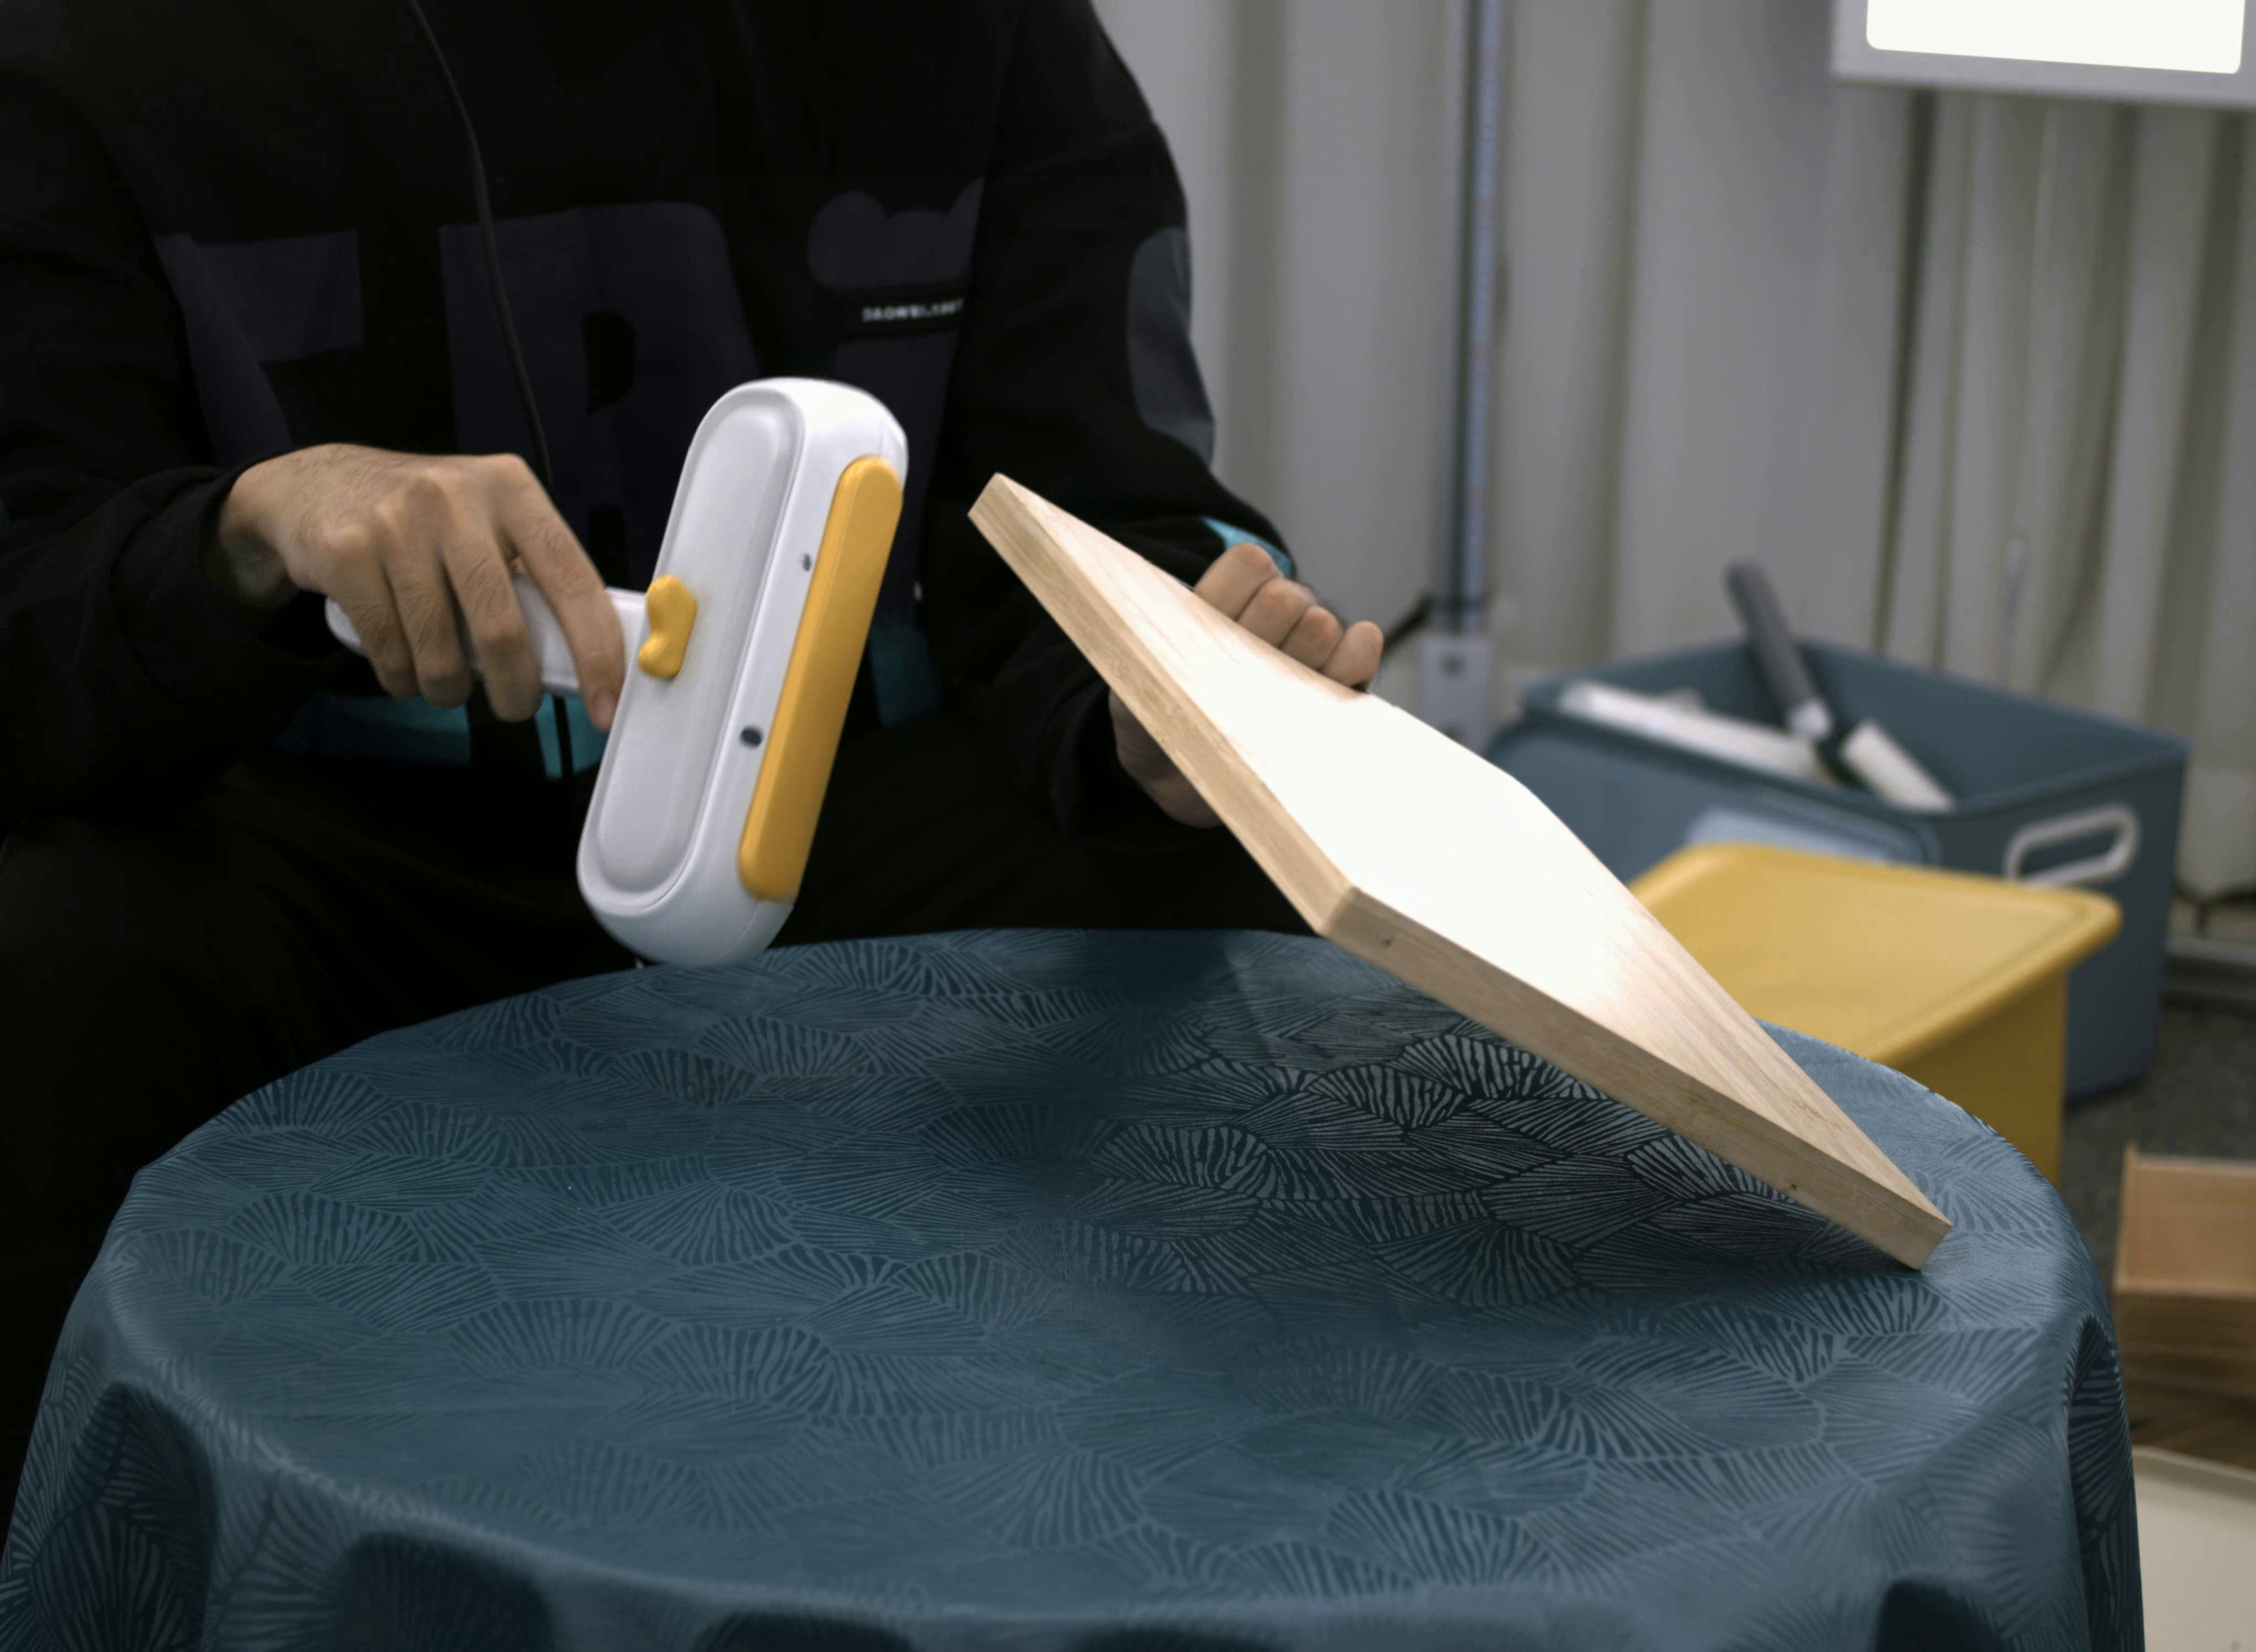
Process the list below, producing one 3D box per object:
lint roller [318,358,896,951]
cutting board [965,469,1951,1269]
[{"bbox_3d":[-0.174,-0.060,1.698,0.190,0.193,0.075,4,-9,34],"label":"lint roller"},{"bbox_3d":[0.094,0.006,1.648,0.253,0.023,0.344,30,10,-29],"label":"cutting board"}]
